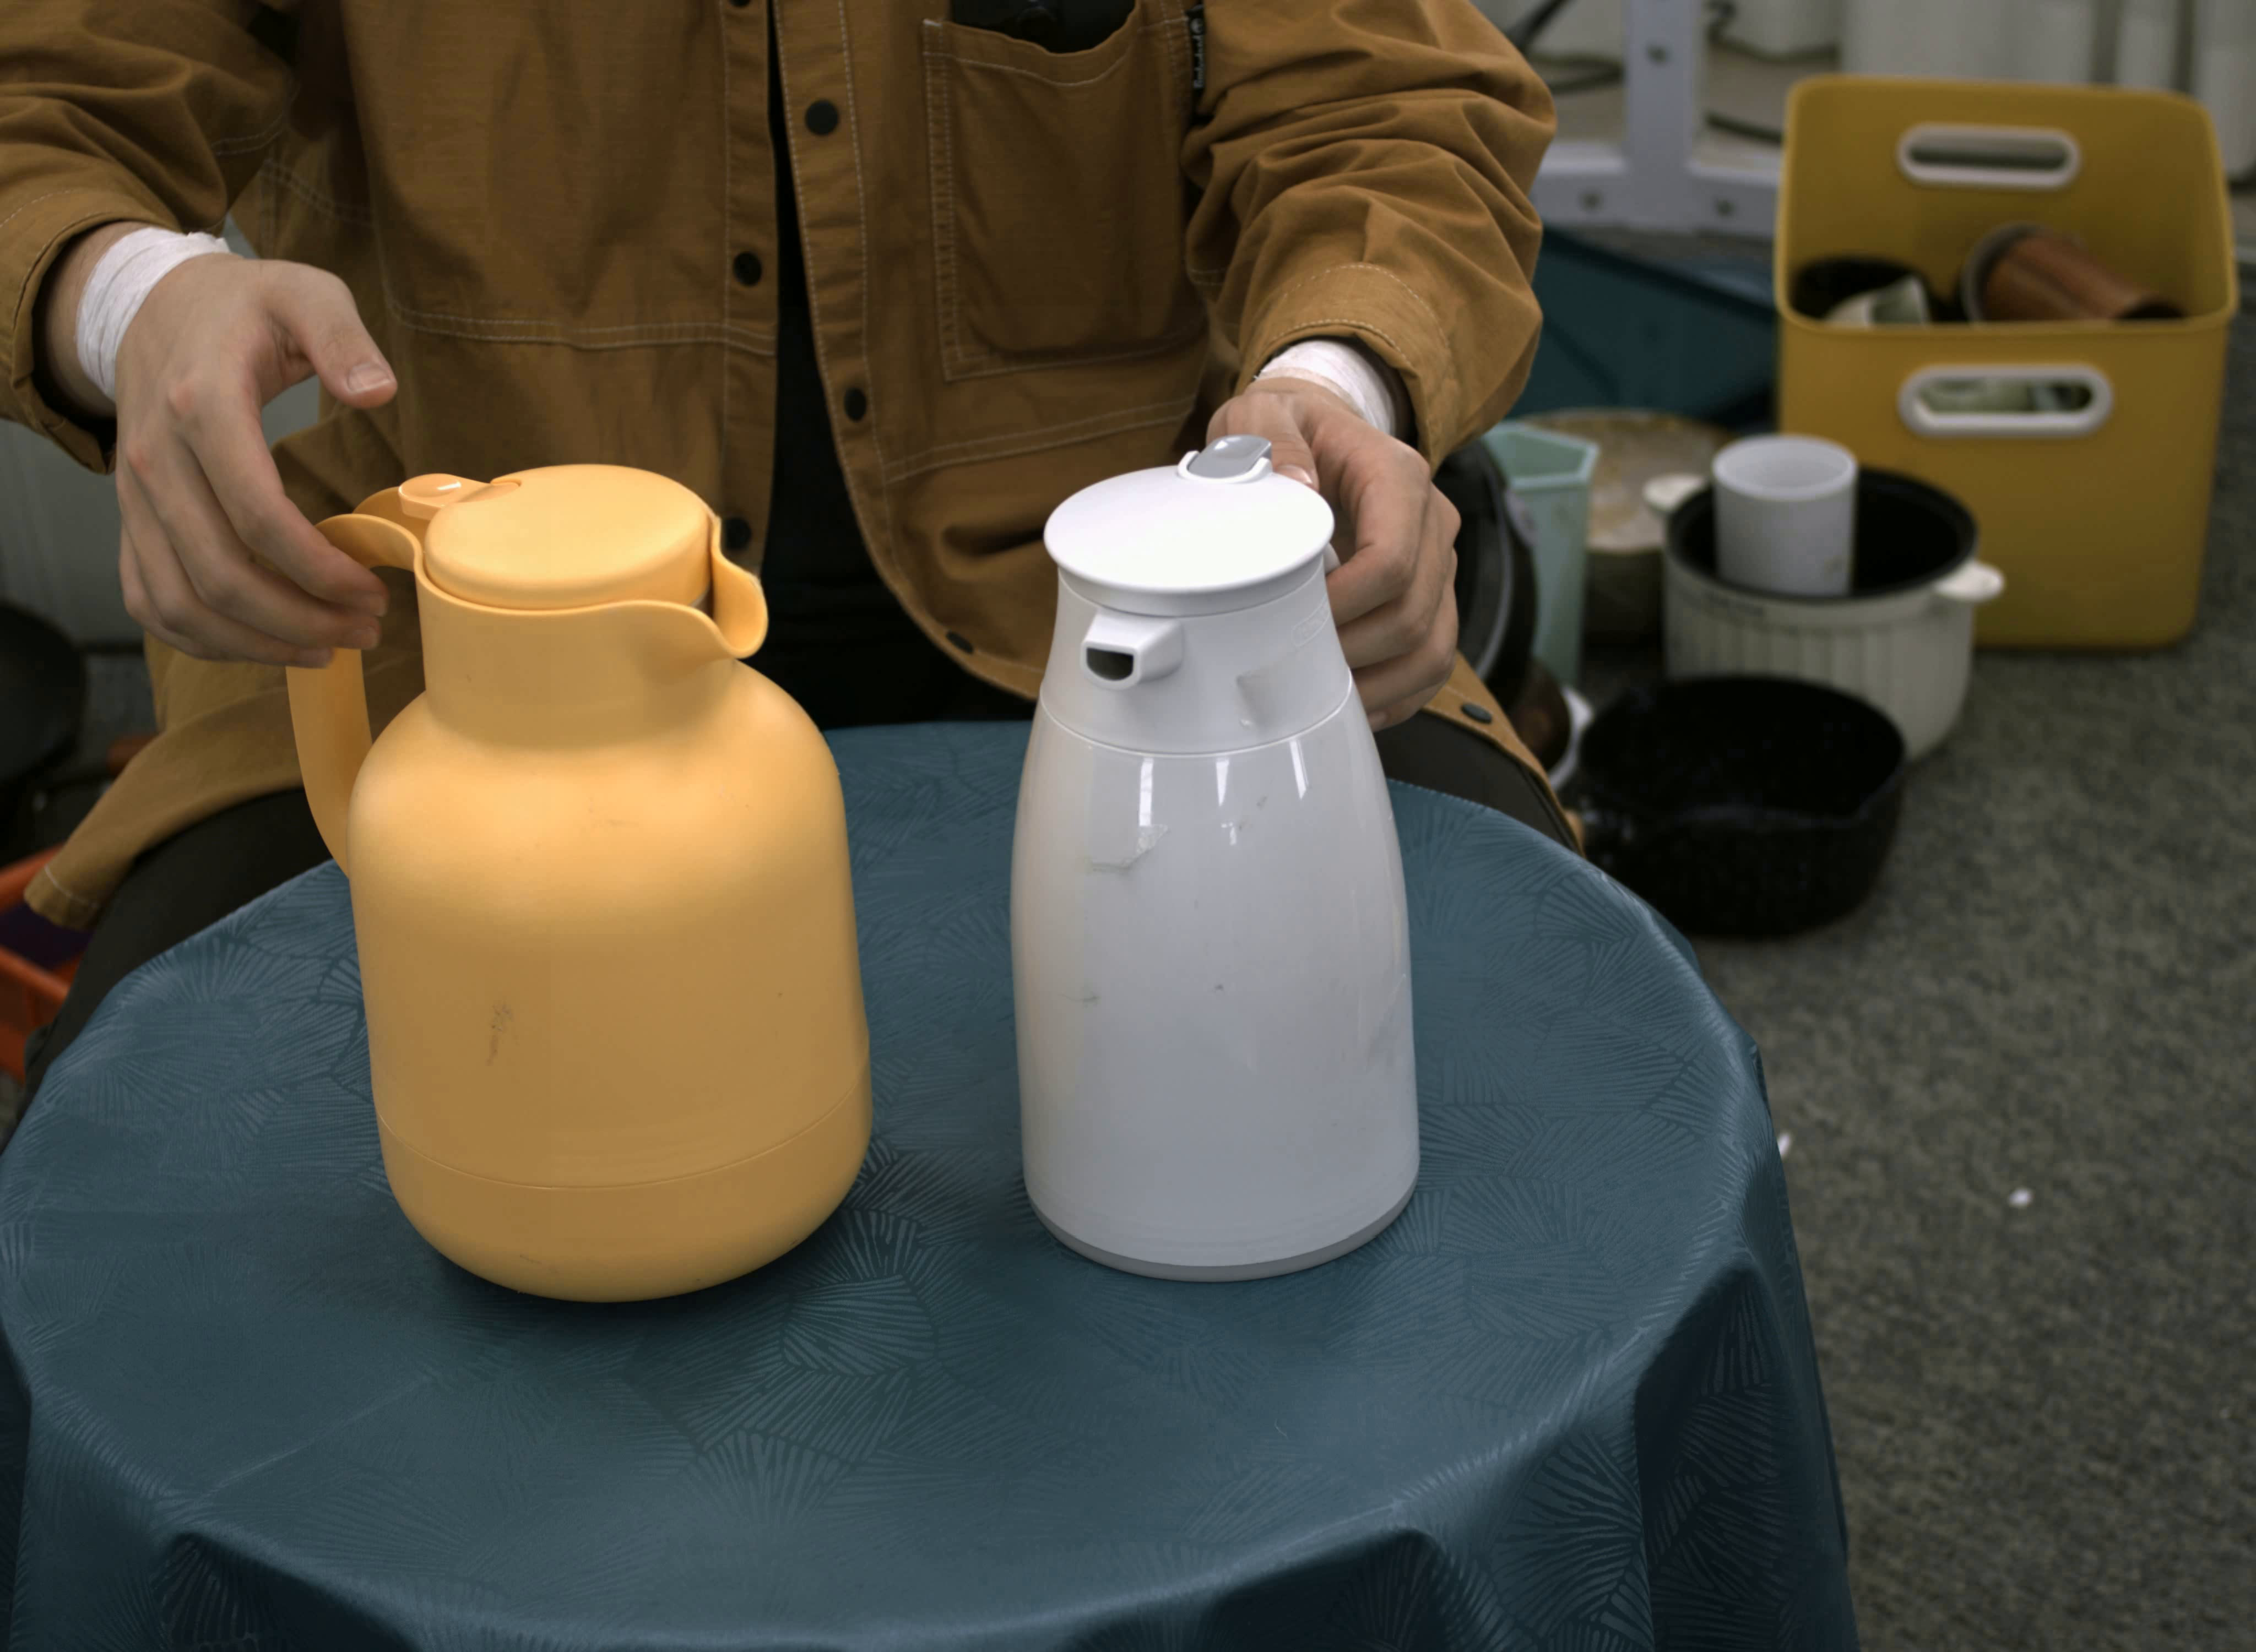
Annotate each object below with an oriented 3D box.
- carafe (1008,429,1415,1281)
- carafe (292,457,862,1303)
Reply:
[{"bbox_3d":[0.031,-0.002,1.827,0.131,0.246,0.170,8,28,22],"label":"carafe"},{"bbox_3d":[-0.184,0.007,1.819,0.202,0.258,0.165,19,31,34],"label":"carafe"}]
